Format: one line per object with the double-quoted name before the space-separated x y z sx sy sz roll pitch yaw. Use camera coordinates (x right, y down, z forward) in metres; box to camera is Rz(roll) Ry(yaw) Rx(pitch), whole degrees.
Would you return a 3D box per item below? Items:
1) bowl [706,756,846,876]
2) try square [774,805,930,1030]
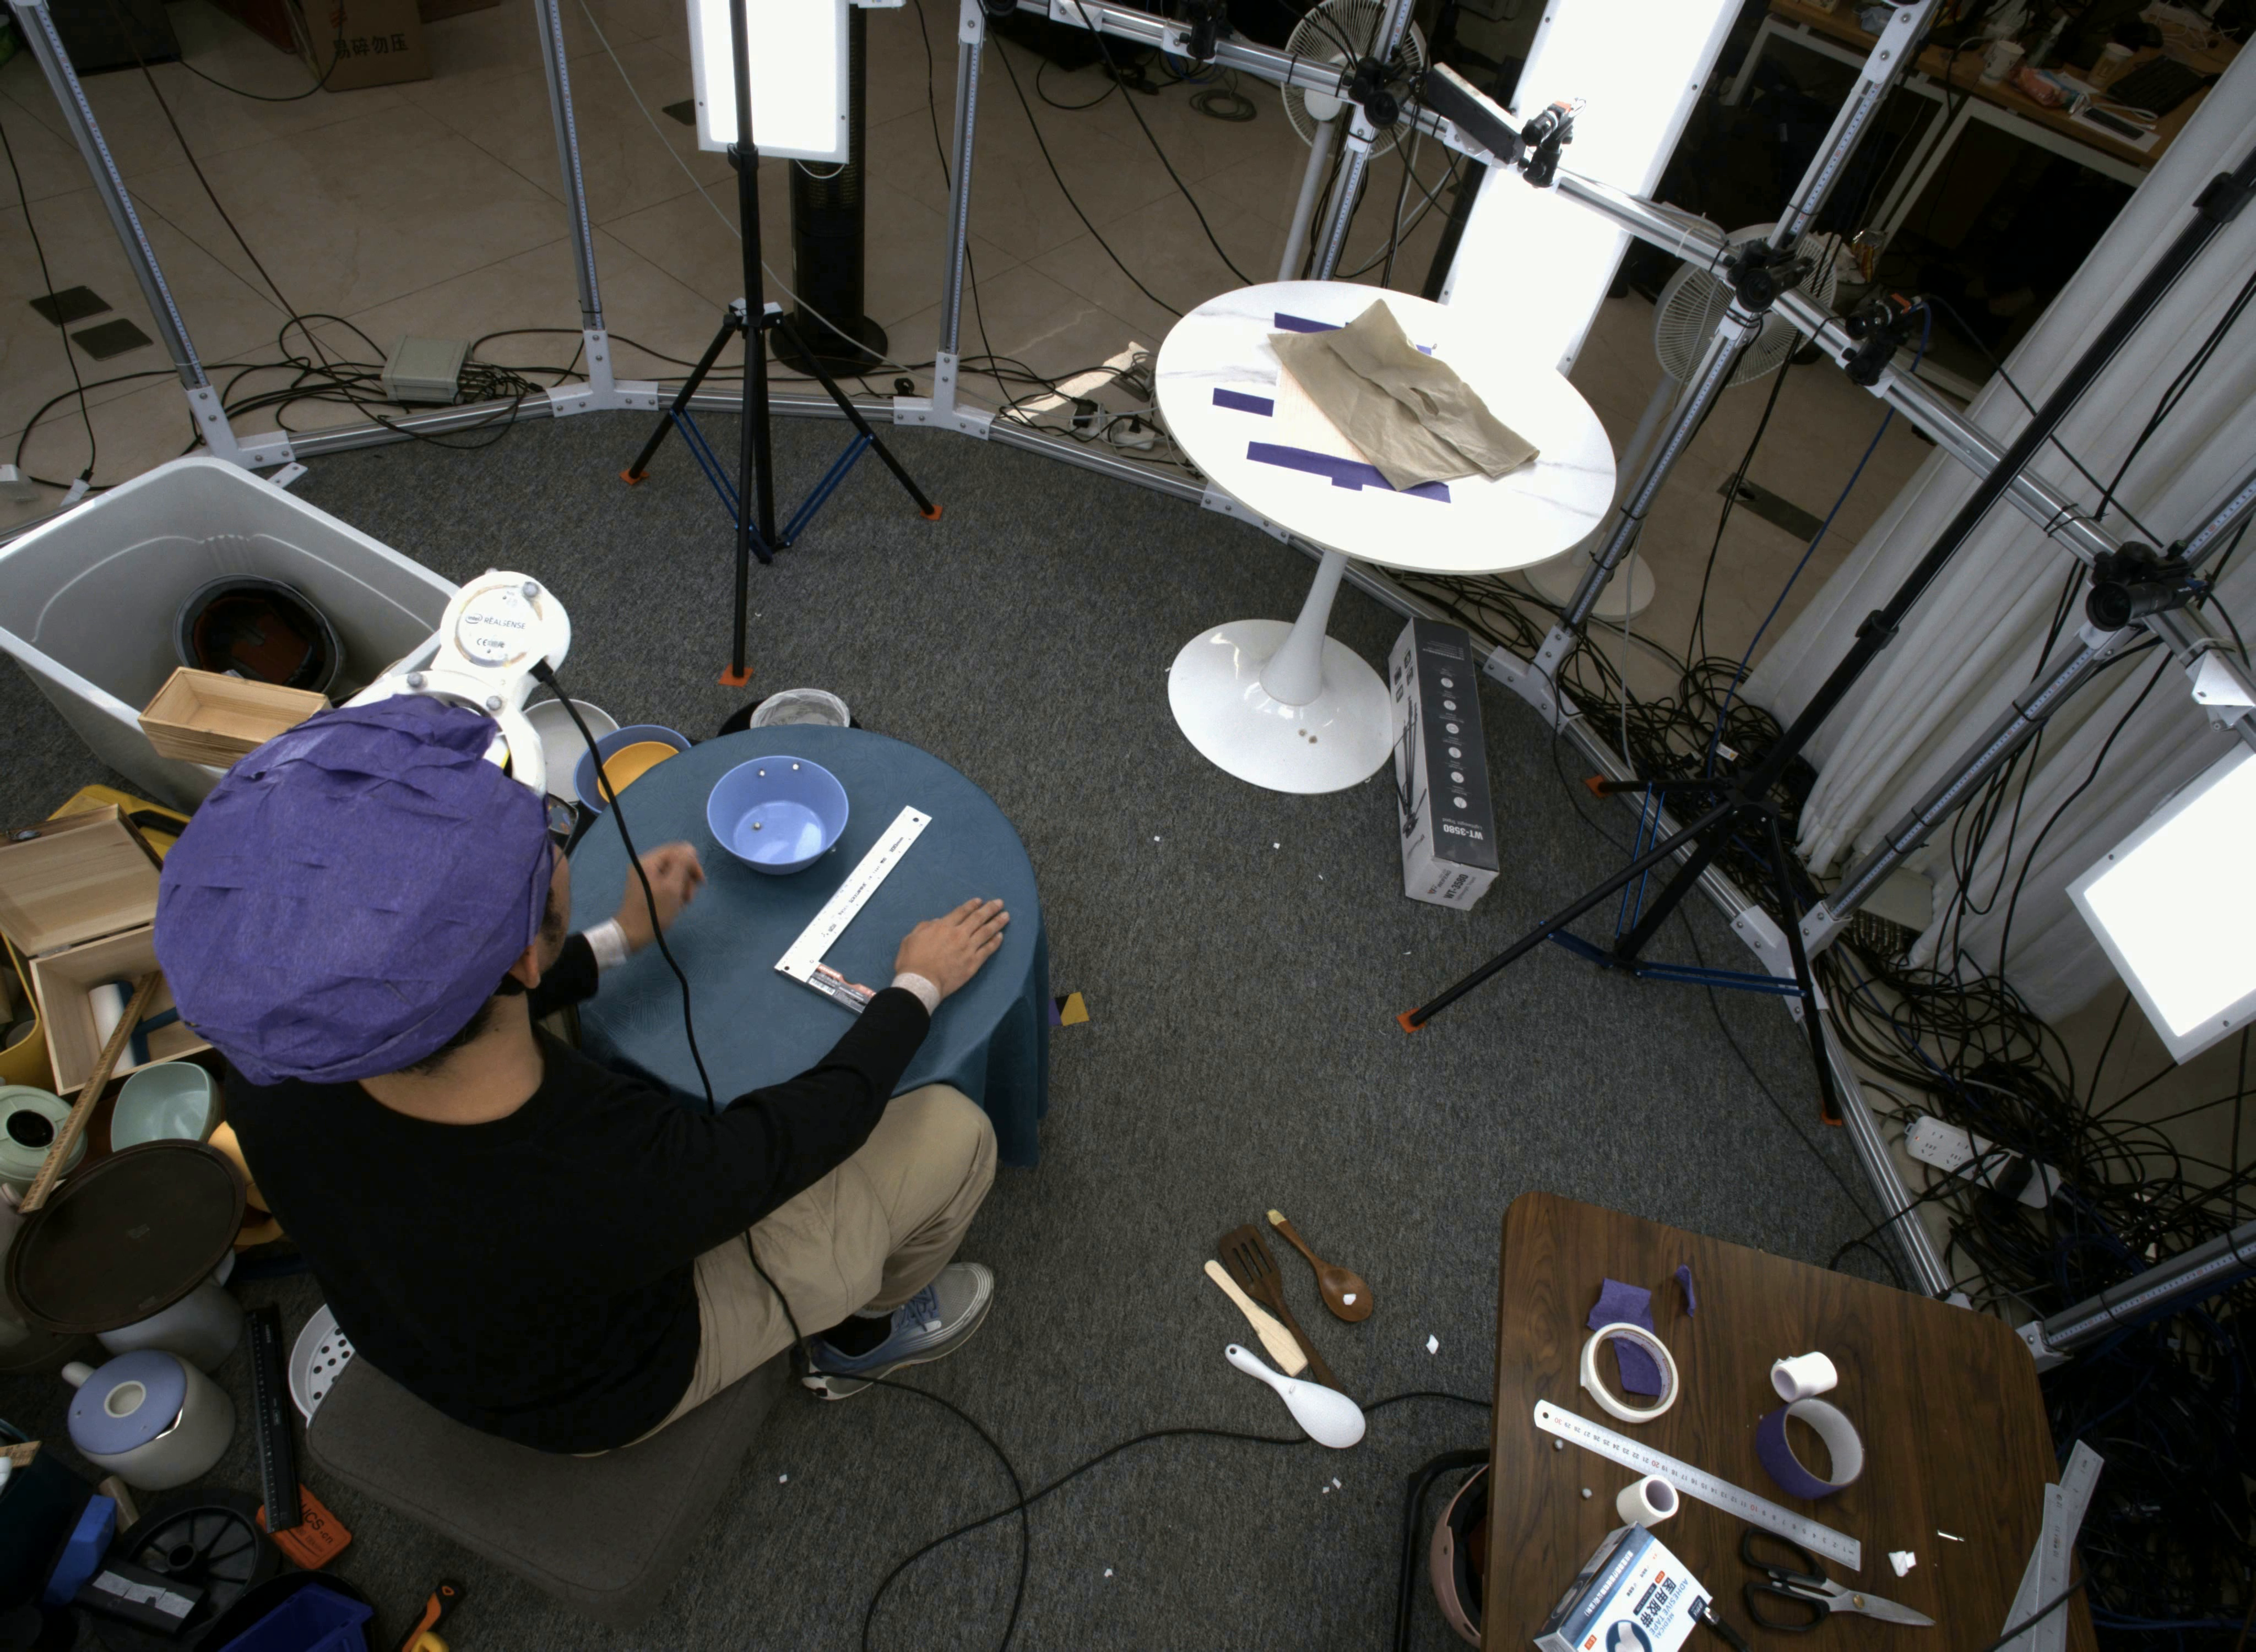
"bowl" -0.452 -0.003 1.669 0.176 0.071 0.173 8 52 -9
"try square" -0.304 0.107 1.669 0.150 0.016 0.311 29 51 4
